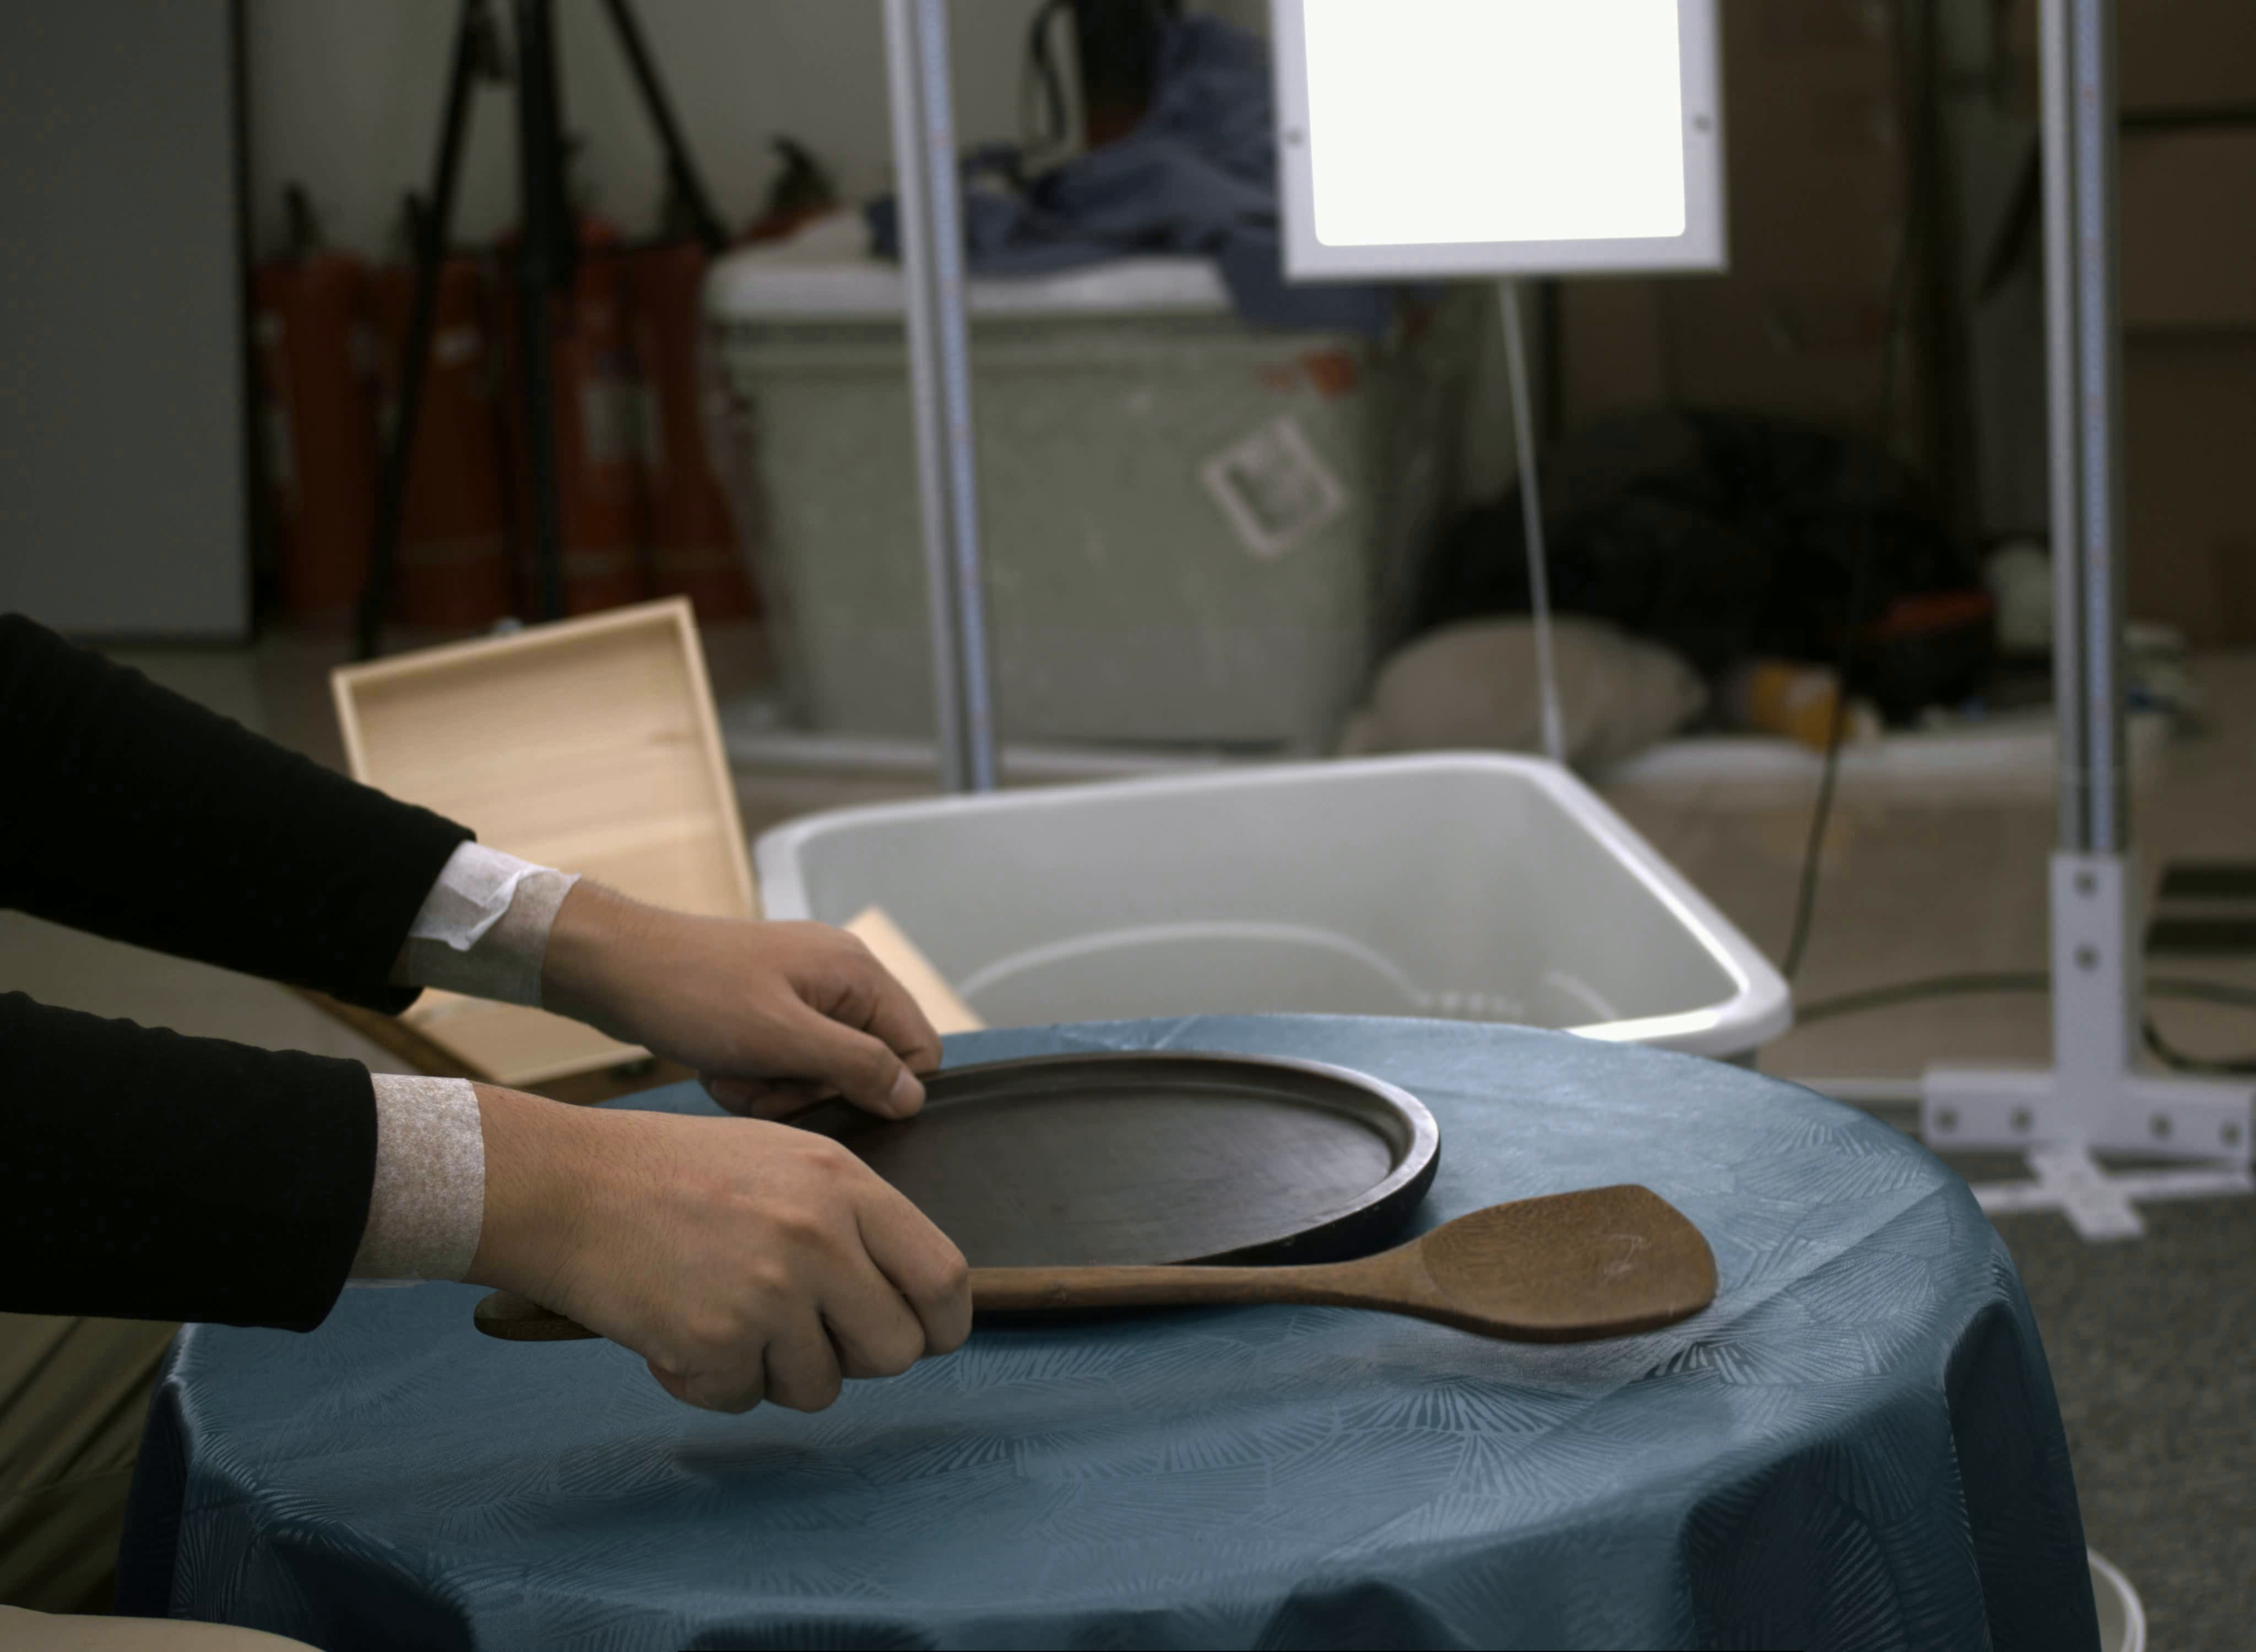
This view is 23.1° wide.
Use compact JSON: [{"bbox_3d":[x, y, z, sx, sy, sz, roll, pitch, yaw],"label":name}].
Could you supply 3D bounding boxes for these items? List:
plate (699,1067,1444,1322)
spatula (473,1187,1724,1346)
[{"bbox_3d":[-0.018,0.123,1.875,0.254,0.029,0.254,-4,14,-1],"label":"plate"},{"bbox_3d":[-0.007,0.140,1.685,0.382,0.016,0.096,-2,20,-7],"label":"spatula"}]
